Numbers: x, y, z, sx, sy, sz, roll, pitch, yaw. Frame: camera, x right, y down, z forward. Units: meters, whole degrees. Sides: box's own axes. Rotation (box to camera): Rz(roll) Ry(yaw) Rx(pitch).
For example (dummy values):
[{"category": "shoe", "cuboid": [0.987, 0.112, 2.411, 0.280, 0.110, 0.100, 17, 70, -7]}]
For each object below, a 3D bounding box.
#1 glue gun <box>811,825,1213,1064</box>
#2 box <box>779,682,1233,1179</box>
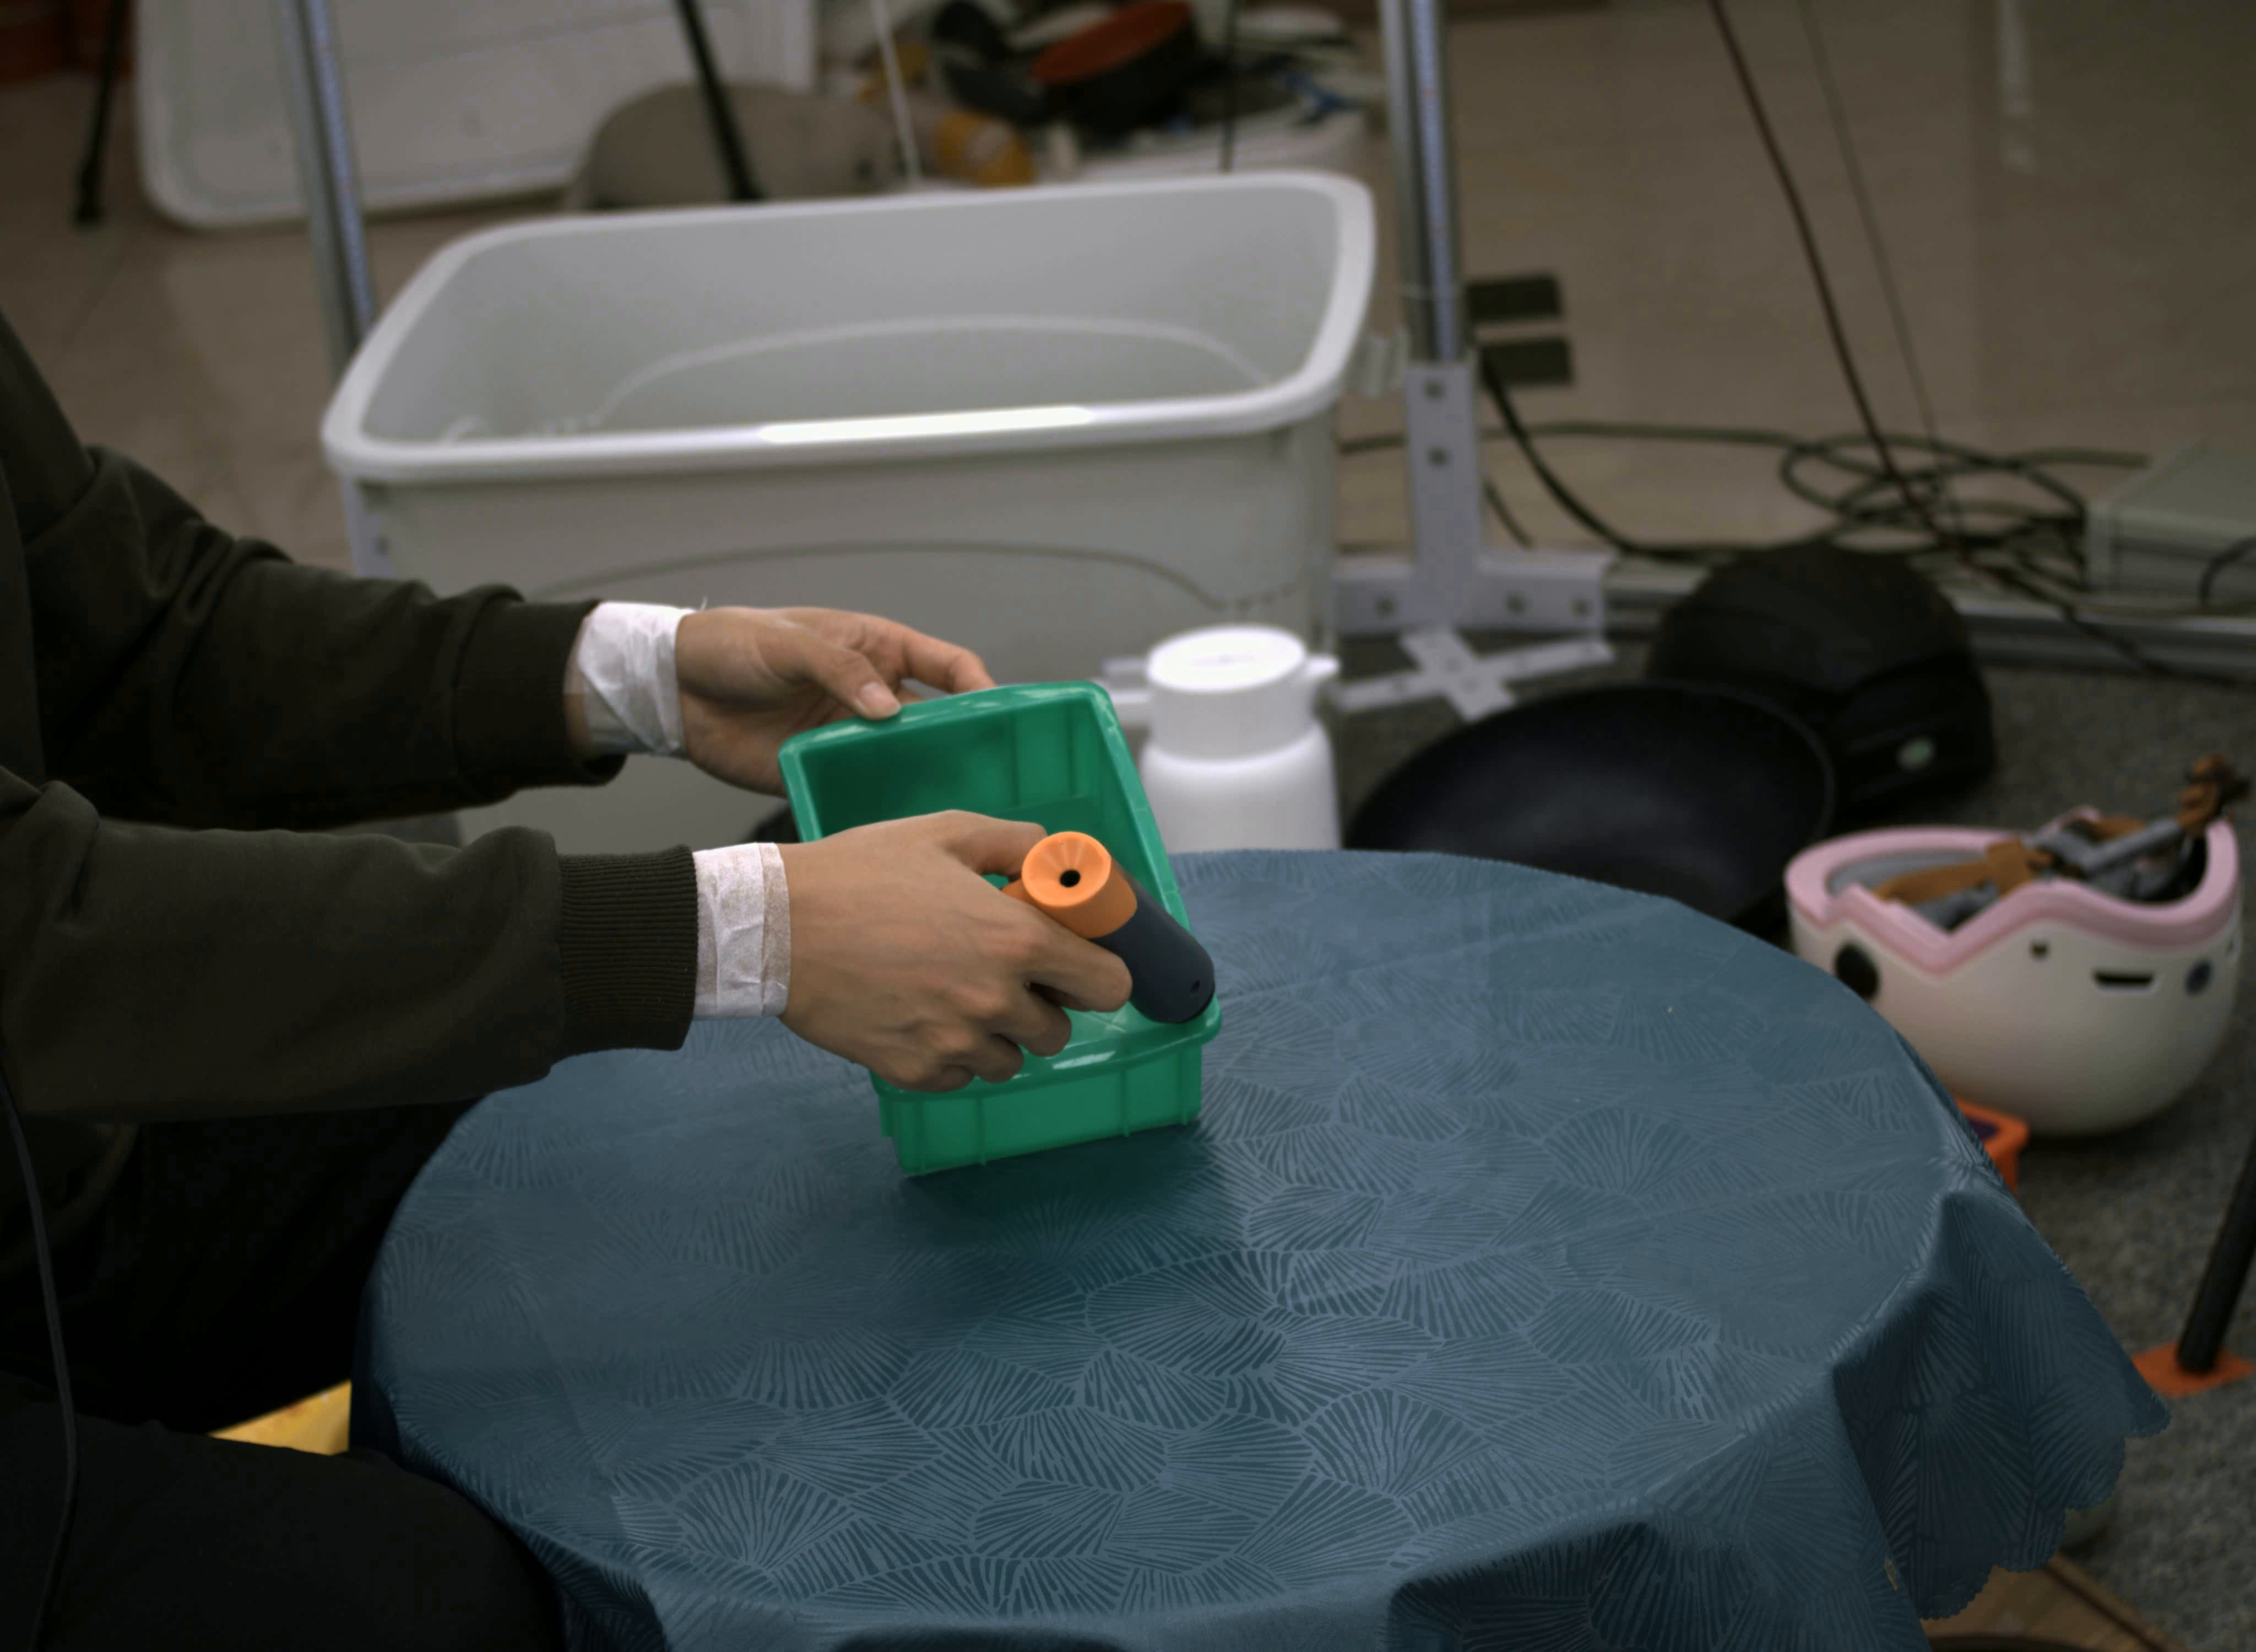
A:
[{"category": "glue gun", "cuboid": [-0.042, 0.051, 2.108, 0.139, 0.120, 0.040, -9, 53, 4]}, {"category": "box", "cuboid": [-0.049, 0.043, 2.222, 0.138, 0.066, 0.207, -13, 49, -10]}]
